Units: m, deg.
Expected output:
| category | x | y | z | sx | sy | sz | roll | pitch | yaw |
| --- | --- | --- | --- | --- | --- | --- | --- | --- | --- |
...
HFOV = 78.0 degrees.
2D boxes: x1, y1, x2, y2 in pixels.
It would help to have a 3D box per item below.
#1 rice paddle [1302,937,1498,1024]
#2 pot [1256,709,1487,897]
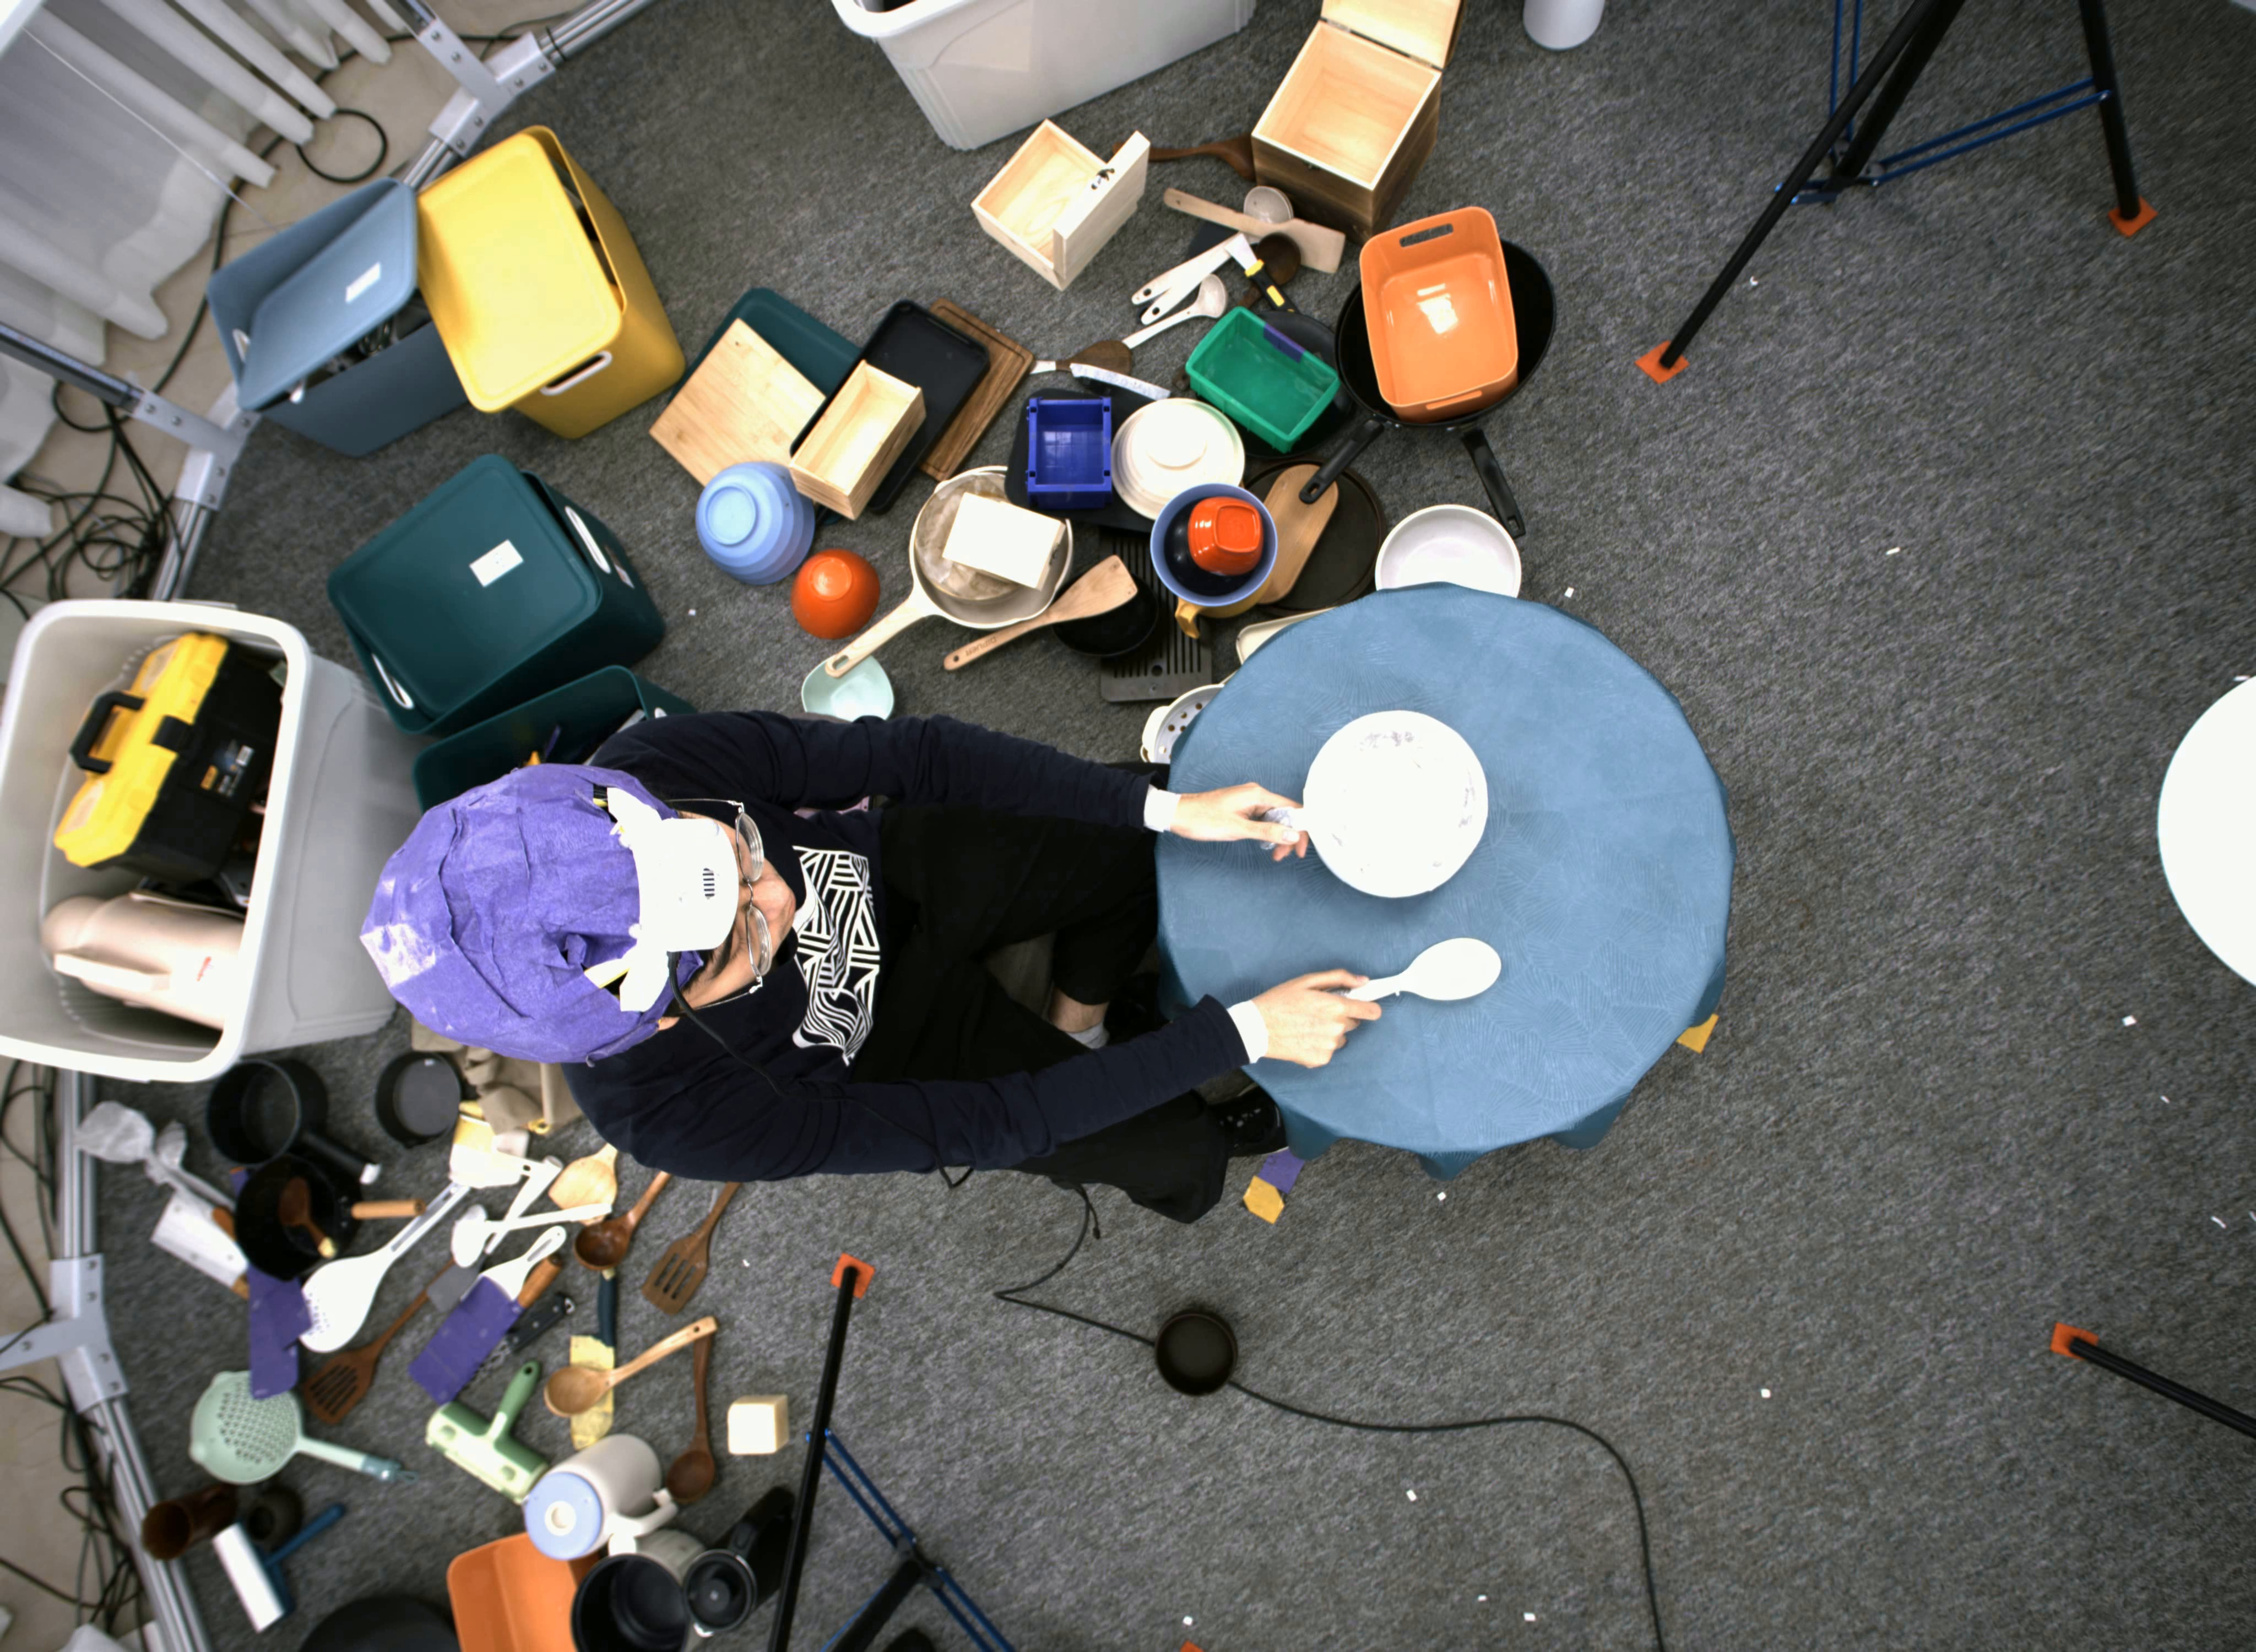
| category | x | y | z | sx | sy | sz | roll | pitch | yaw |
| --- | --- | --- | --- | --- | --- | --- | --- | --- | --- |
| rice paddle | 0.283 | 0.160 | 1.432 | 0.206 | 0.030 | 0.067 | -17 | 53 | 7 |
| pot | 0.243 | -0.015 | 1.404 | 0.235 | 0.137 | 0.177 | -10 | 82 | 11 |
